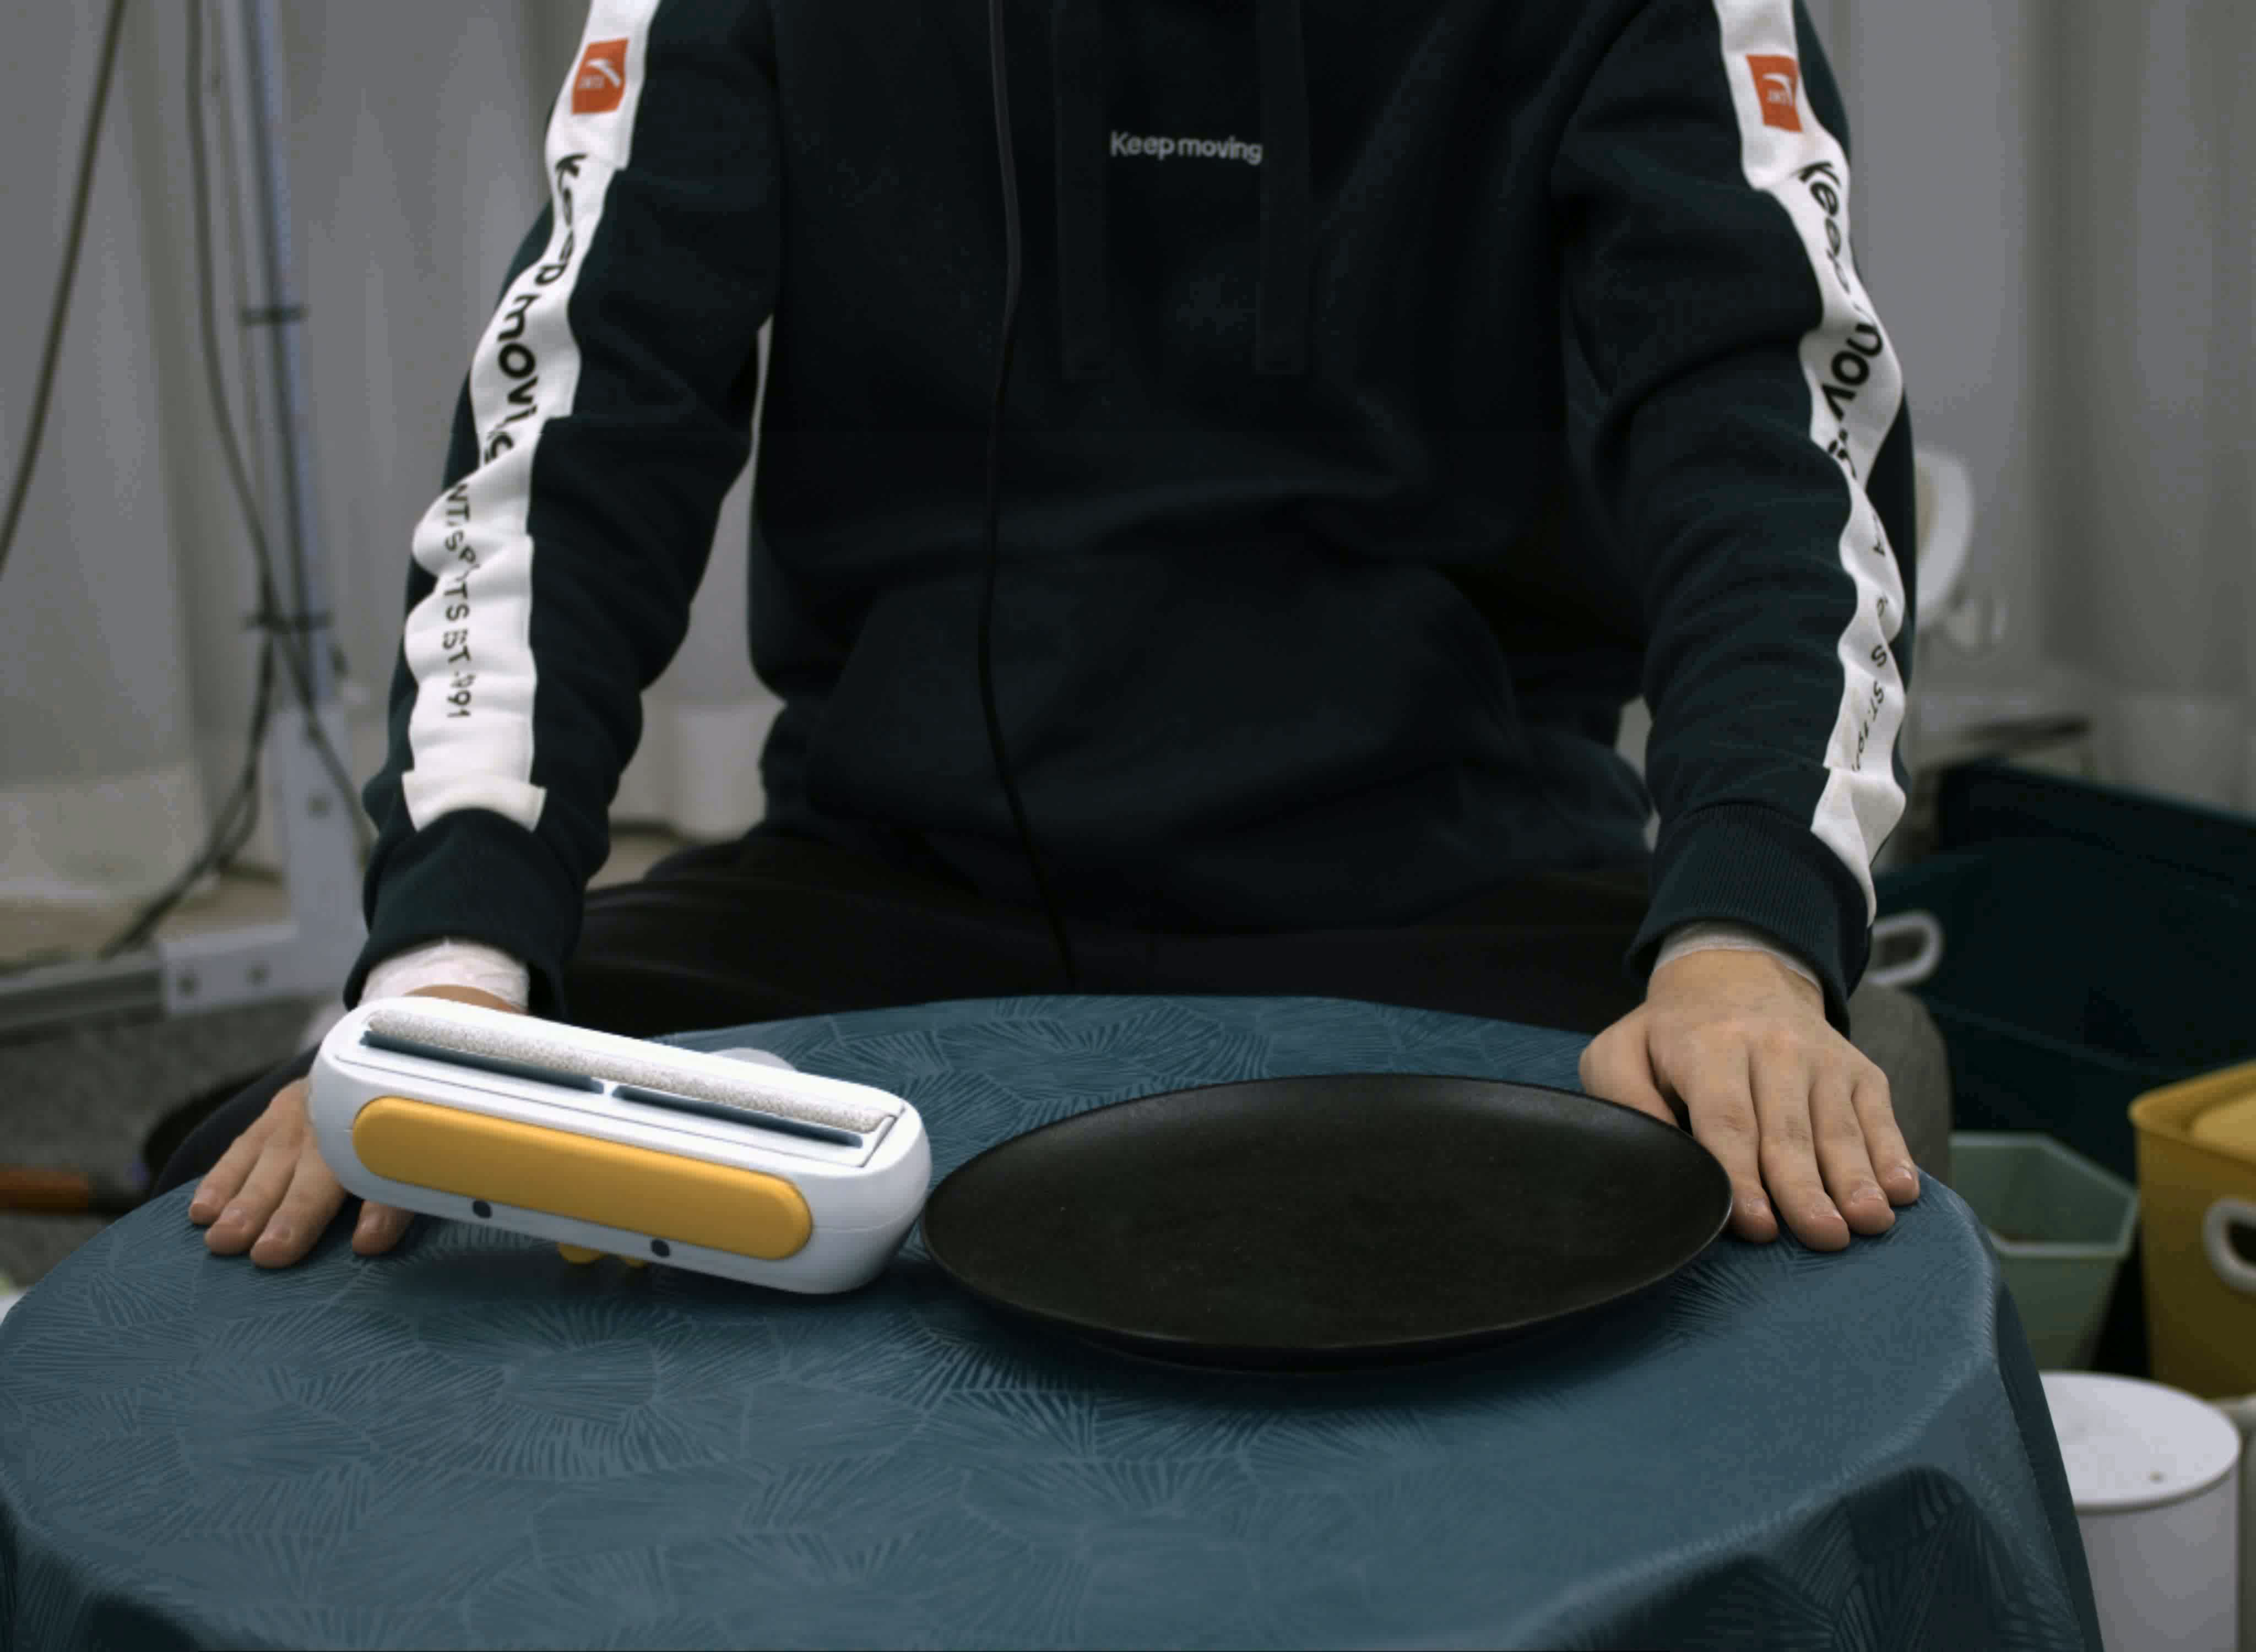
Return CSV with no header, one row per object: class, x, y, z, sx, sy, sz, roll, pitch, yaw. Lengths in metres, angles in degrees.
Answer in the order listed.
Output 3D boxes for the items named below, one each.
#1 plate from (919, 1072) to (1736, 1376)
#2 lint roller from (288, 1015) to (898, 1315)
plate,0.059,0.122,1.633,0.243,0.023,0.246,-3,15,1
lint roller,-0.144,0.107,1.713,0.193,0.074,0.192,9,4,19
